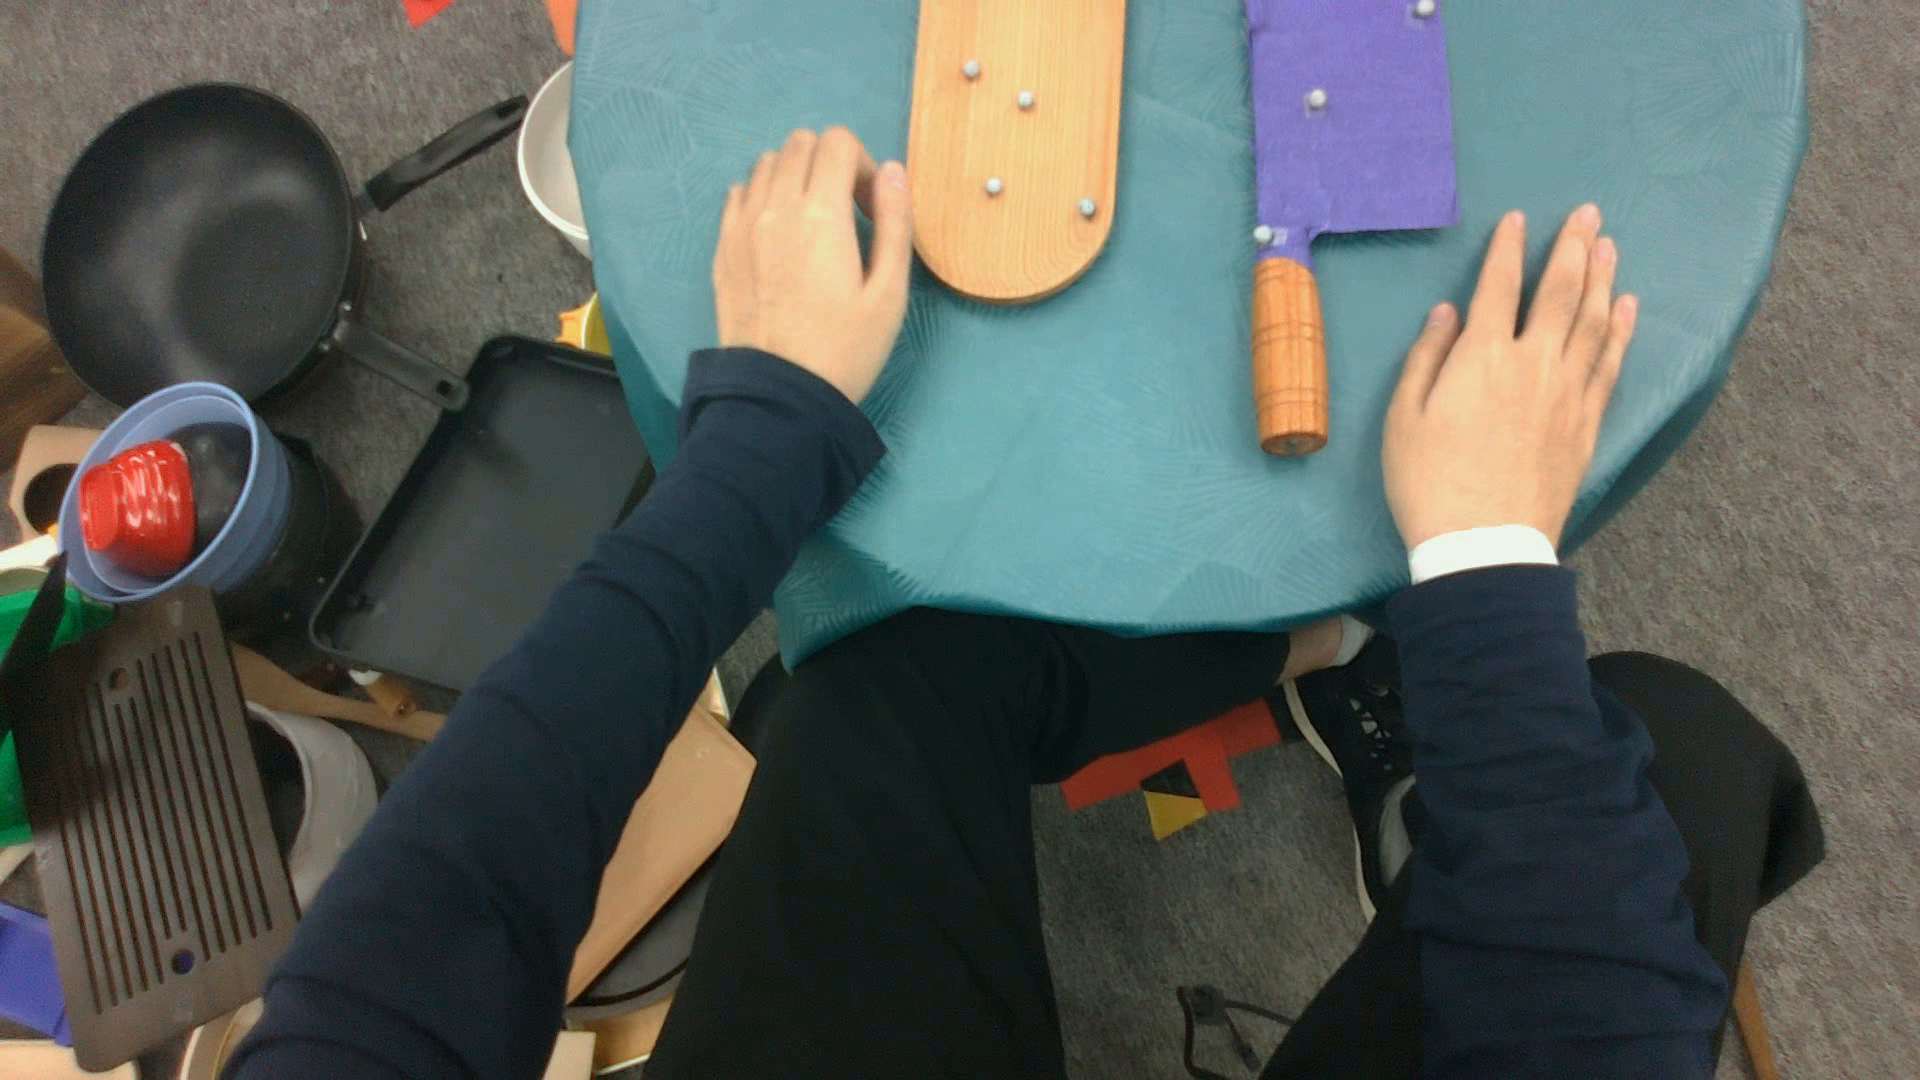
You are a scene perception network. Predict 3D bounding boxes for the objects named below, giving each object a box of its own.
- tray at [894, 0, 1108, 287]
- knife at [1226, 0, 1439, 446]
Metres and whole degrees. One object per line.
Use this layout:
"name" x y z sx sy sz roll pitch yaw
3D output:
"tray" 0.021 -0.231 0.678 0.101 0.020 0.232 1 73 6
"knife" 0.174 -0.197 0.647 0.104 0.032 0.316 -2 73 6
